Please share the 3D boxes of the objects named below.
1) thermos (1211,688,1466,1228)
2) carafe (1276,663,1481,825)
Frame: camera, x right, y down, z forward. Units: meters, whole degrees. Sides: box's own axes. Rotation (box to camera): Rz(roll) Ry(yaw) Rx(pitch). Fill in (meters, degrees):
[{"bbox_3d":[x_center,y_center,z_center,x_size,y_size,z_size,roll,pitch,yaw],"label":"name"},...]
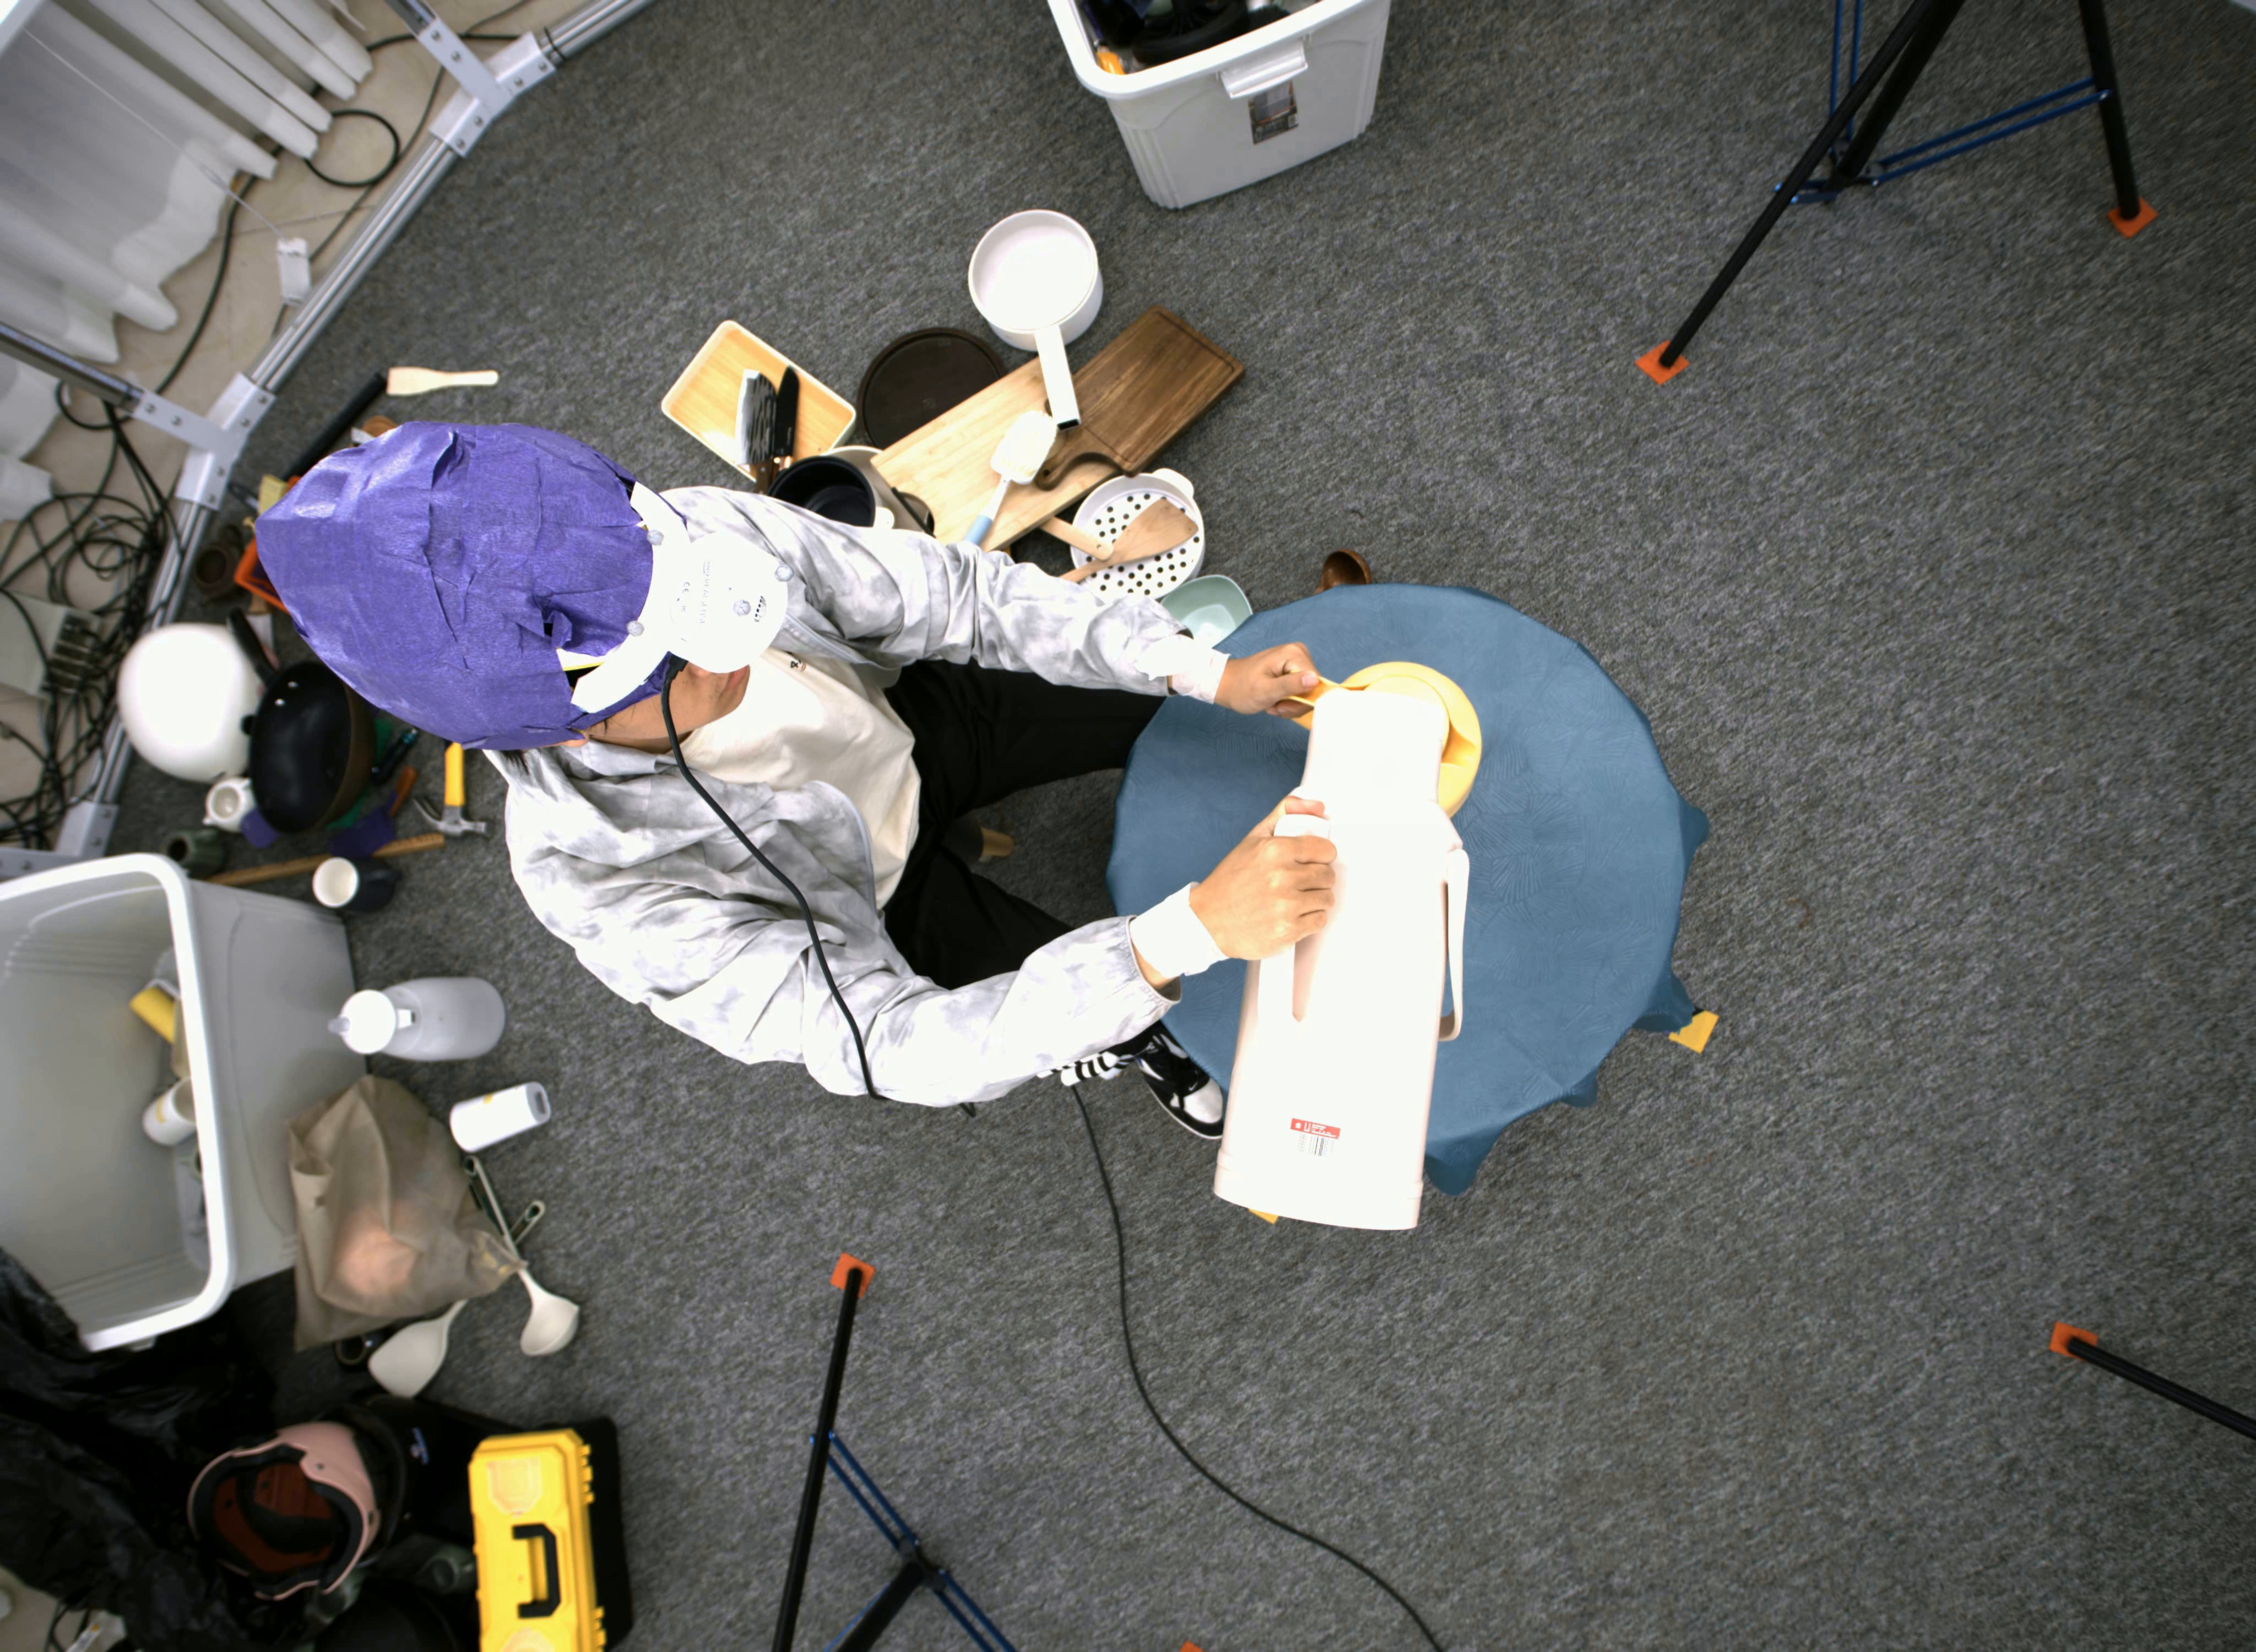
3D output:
[{"bbox_3d":[0.161,0.097,1.079,0.176,0.207,0.404,7,86,38],"label":"thermos"},{"bbox_3d":[0.243,-0.087,1.339,0.202,0.261,0.163,26,87,10],"label":"carafe"}]
